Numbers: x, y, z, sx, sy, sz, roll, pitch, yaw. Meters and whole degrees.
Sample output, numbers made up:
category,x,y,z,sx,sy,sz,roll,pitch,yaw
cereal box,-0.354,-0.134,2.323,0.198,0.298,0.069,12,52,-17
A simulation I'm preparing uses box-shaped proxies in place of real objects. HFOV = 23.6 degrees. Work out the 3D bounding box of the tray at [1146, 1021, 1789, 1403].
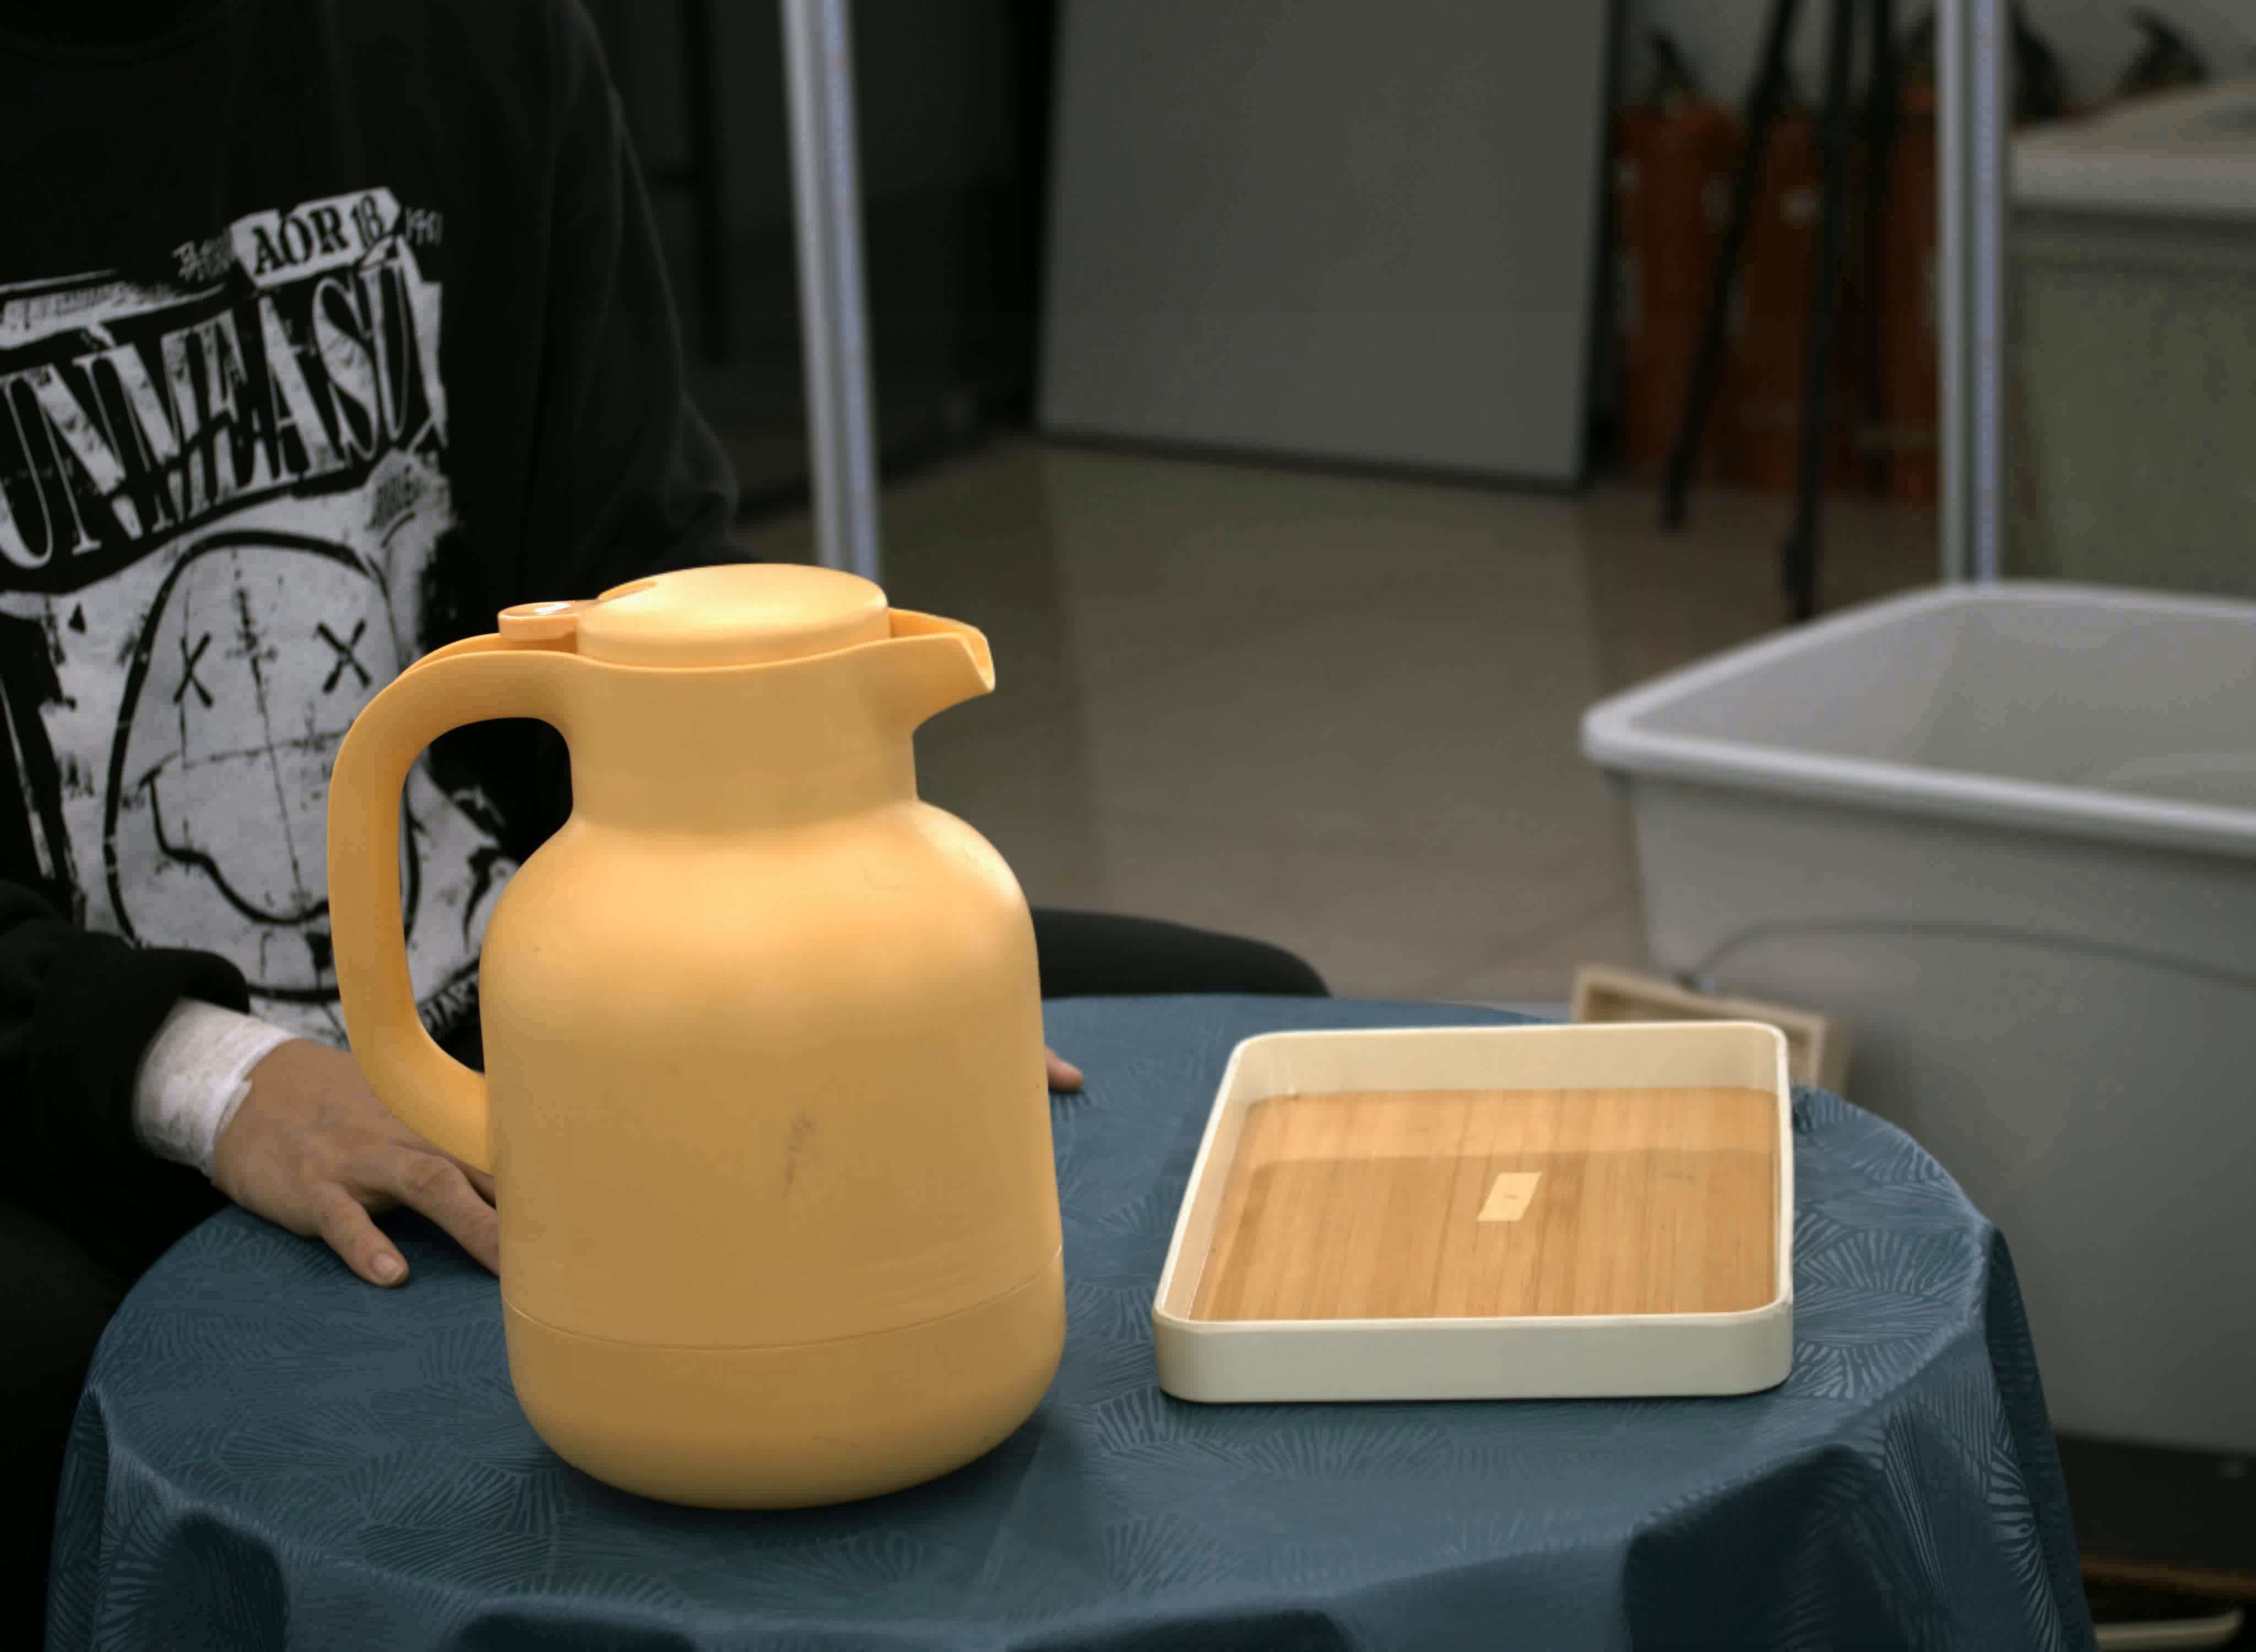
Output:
category,x,y,z,sx,sy,sz,roll,pitch,yaw
tray,0.114,0.118,1.697,0.190,0.028,0.299,-2,14,8

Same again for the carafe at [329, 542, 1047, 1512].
category,x,y,z,sx,sy,sz,roll,pitch,yaw
carafe,-0.125,0.052,1.540,0.201,0.263,0.162,1,12,11
